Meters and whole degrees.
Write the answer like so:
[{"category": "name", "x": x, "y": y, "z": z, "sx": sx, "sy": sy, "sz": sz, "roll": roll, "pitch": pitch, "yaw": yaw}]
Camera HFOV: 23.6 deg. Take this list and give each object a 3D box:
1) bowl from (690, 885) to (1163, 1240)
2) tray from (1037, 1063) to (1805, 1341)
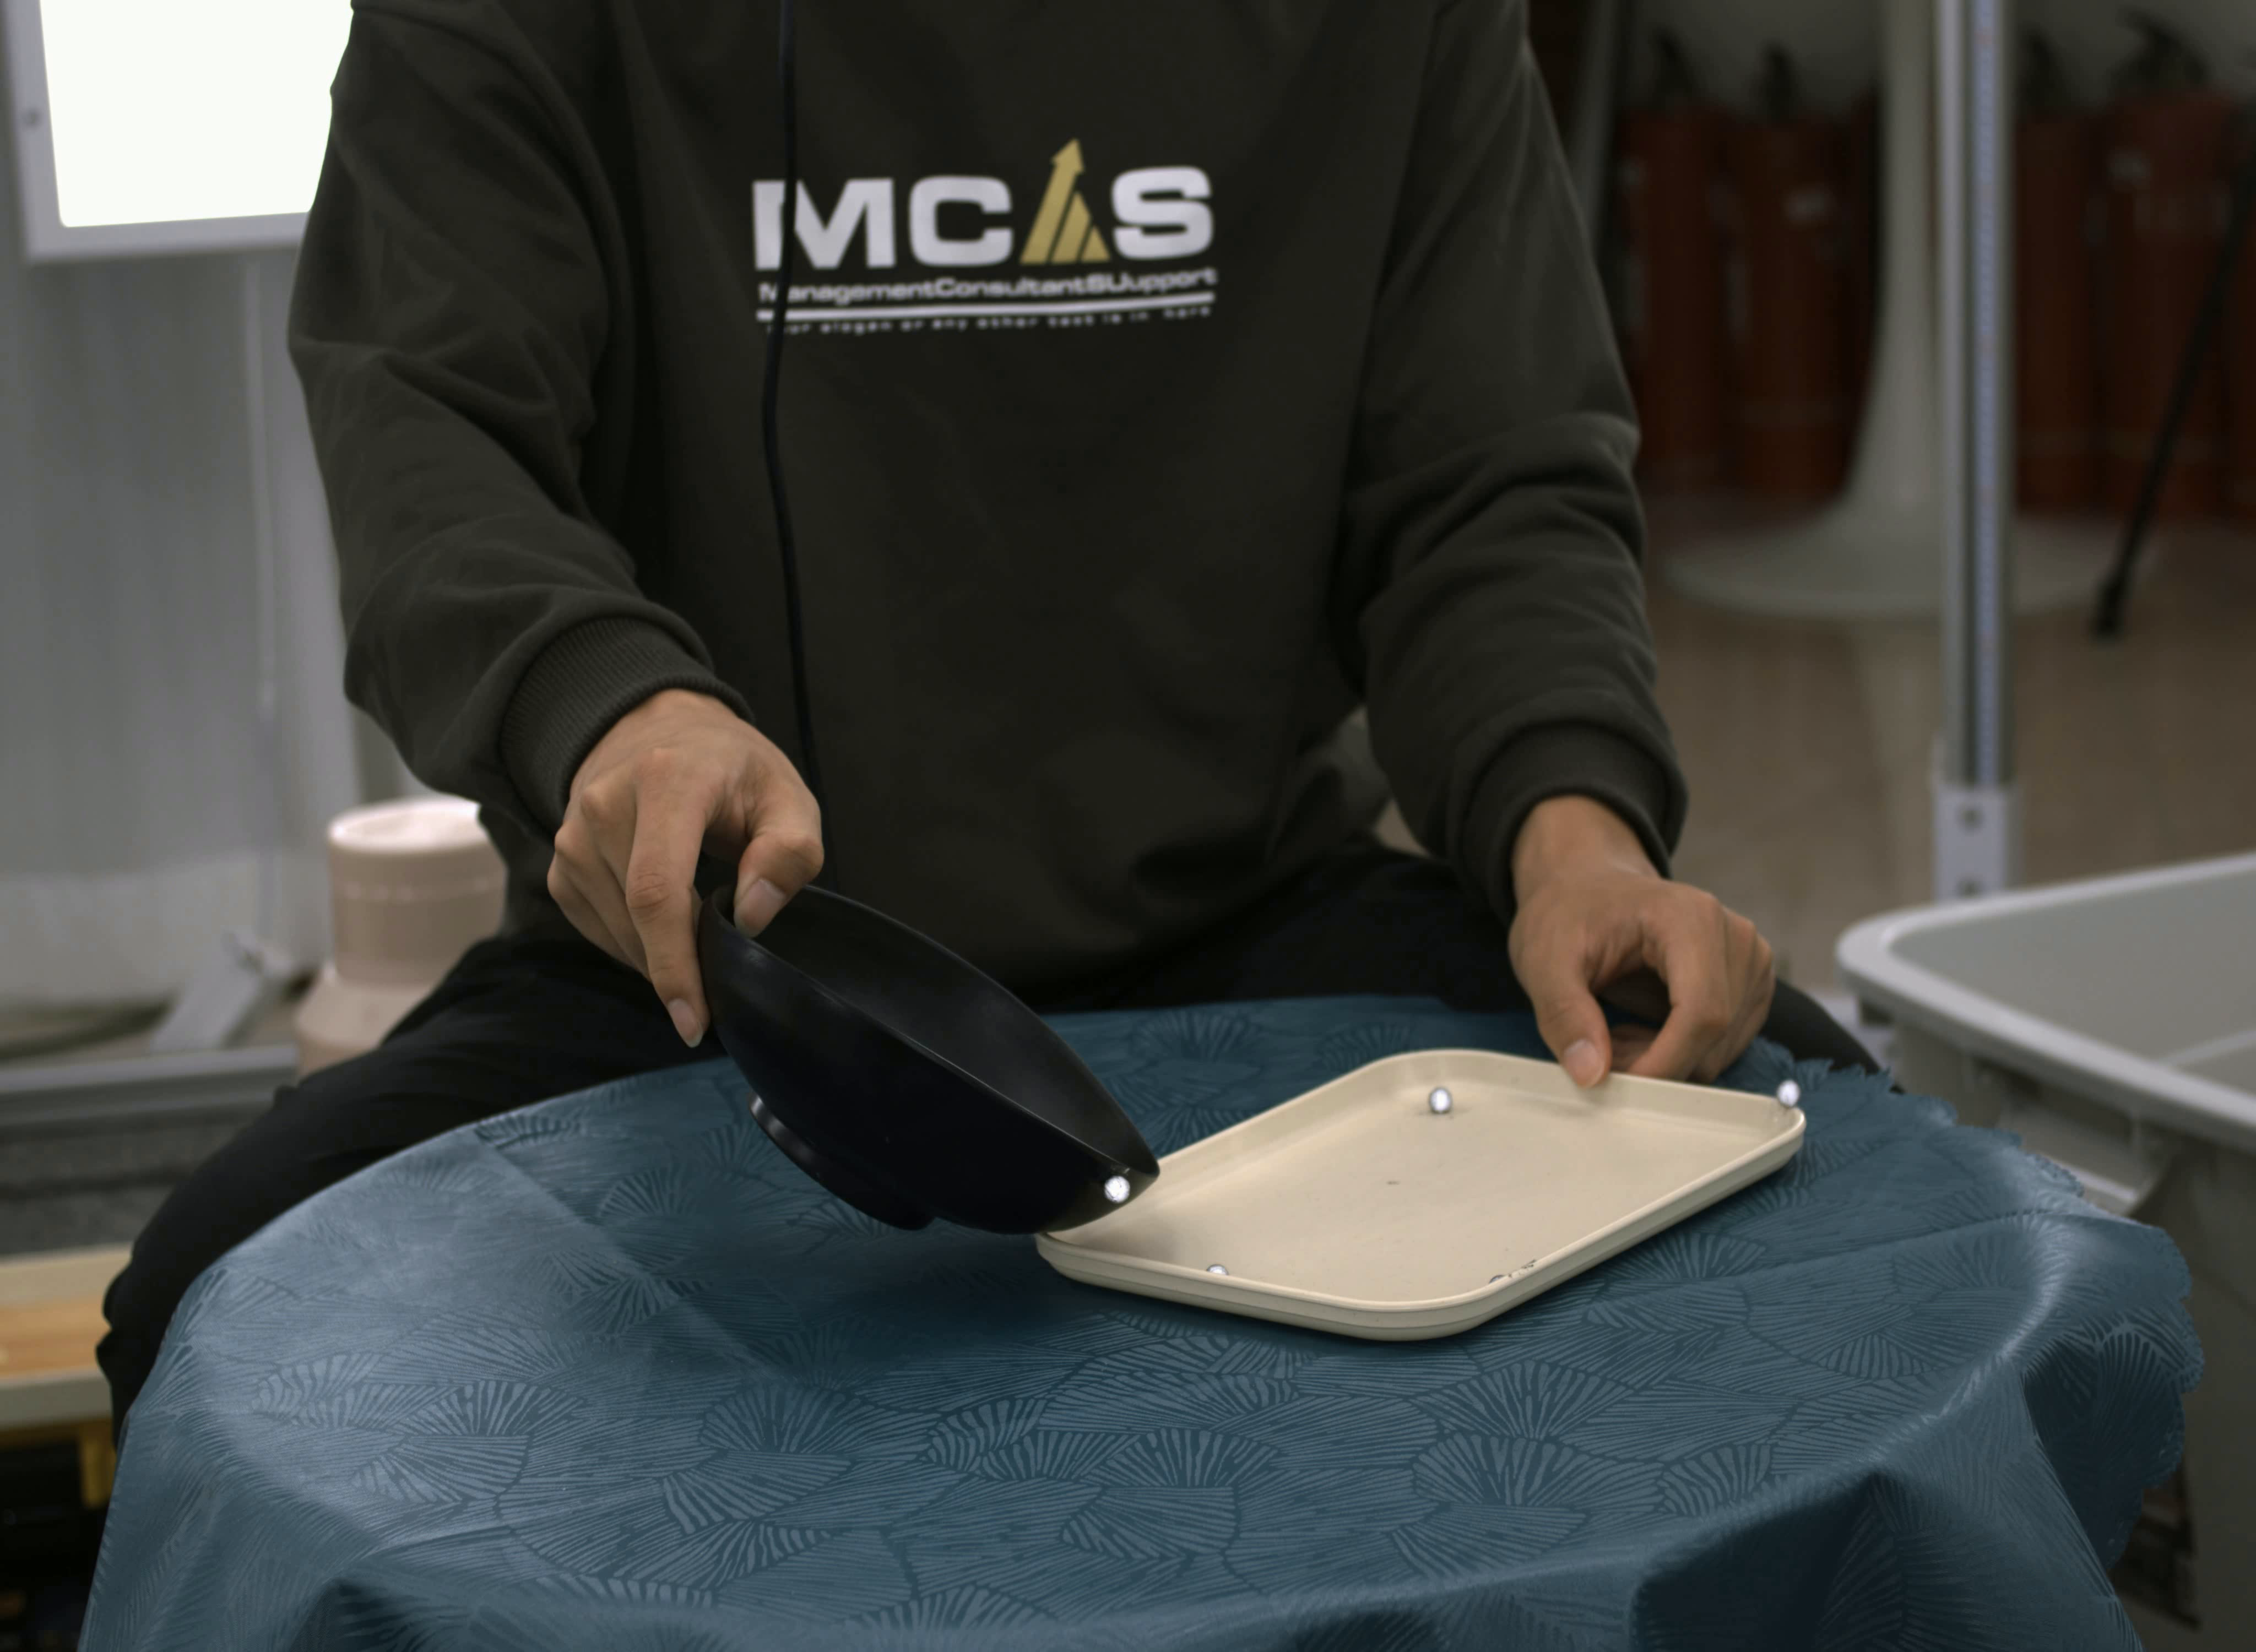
[{"category": "bowl", "x": -0.071, "y": 0.084, "z": 1.679, "sx": 0.168, "sy": 0.067, "sz": 0.138, "roll": 32, "pitch": 9, "yaw": -17}, {"category": "tray", "x": 0.097, "y": 0.119, "z": 1.724, "sx": 0.172, "sy": 0.017, "sz": 0.235, "roll": 6, "pitch": 16, "yaw": 38}]
